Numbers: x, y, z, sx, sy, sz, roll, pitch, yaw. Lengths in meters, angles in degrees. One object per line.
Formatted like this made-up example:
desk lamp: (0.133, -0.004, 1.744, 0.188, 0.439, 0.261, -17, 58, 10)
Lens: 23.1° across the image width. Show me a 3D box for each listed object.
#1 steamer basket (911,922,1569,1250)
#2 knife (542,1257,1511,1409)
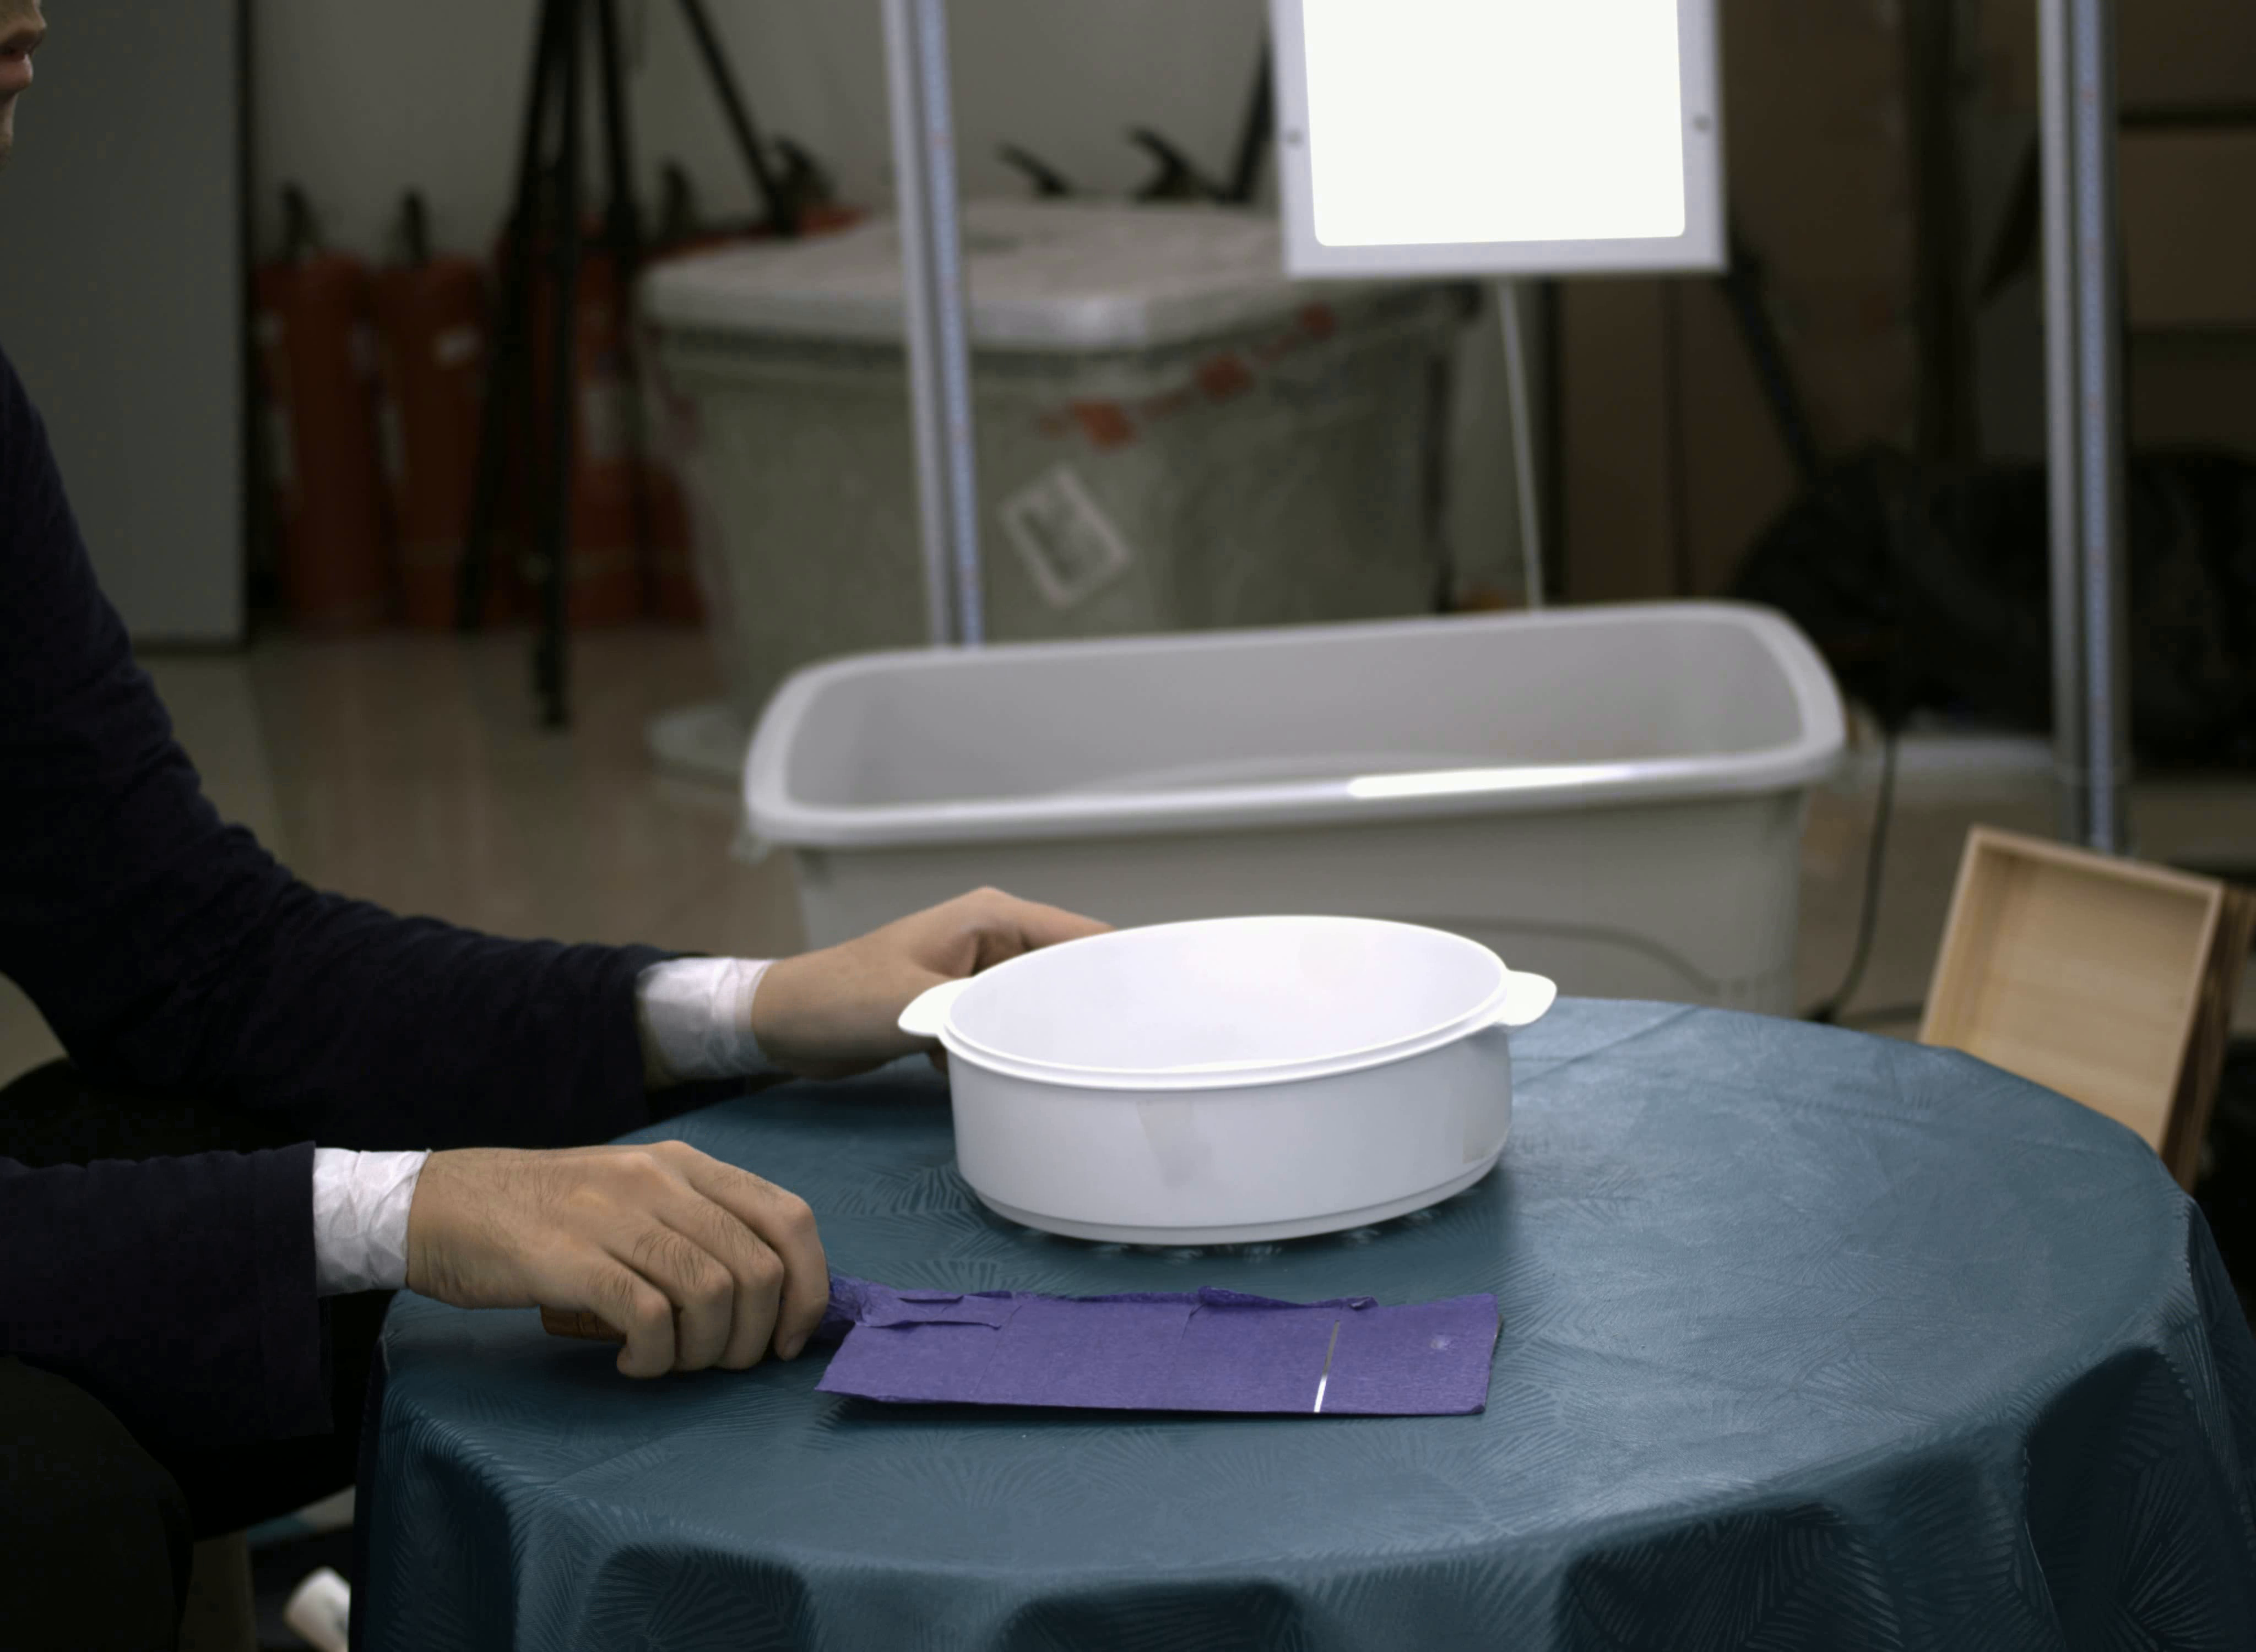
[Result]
steamer basket: (0.041, 0.090, 1.903, 0.233, 0.069, 0.199, -4, 12, 17)
knife: (-0.038, 0.159, 1.728, 0.317, 0.032, 0.103, -2, 14, 12)
